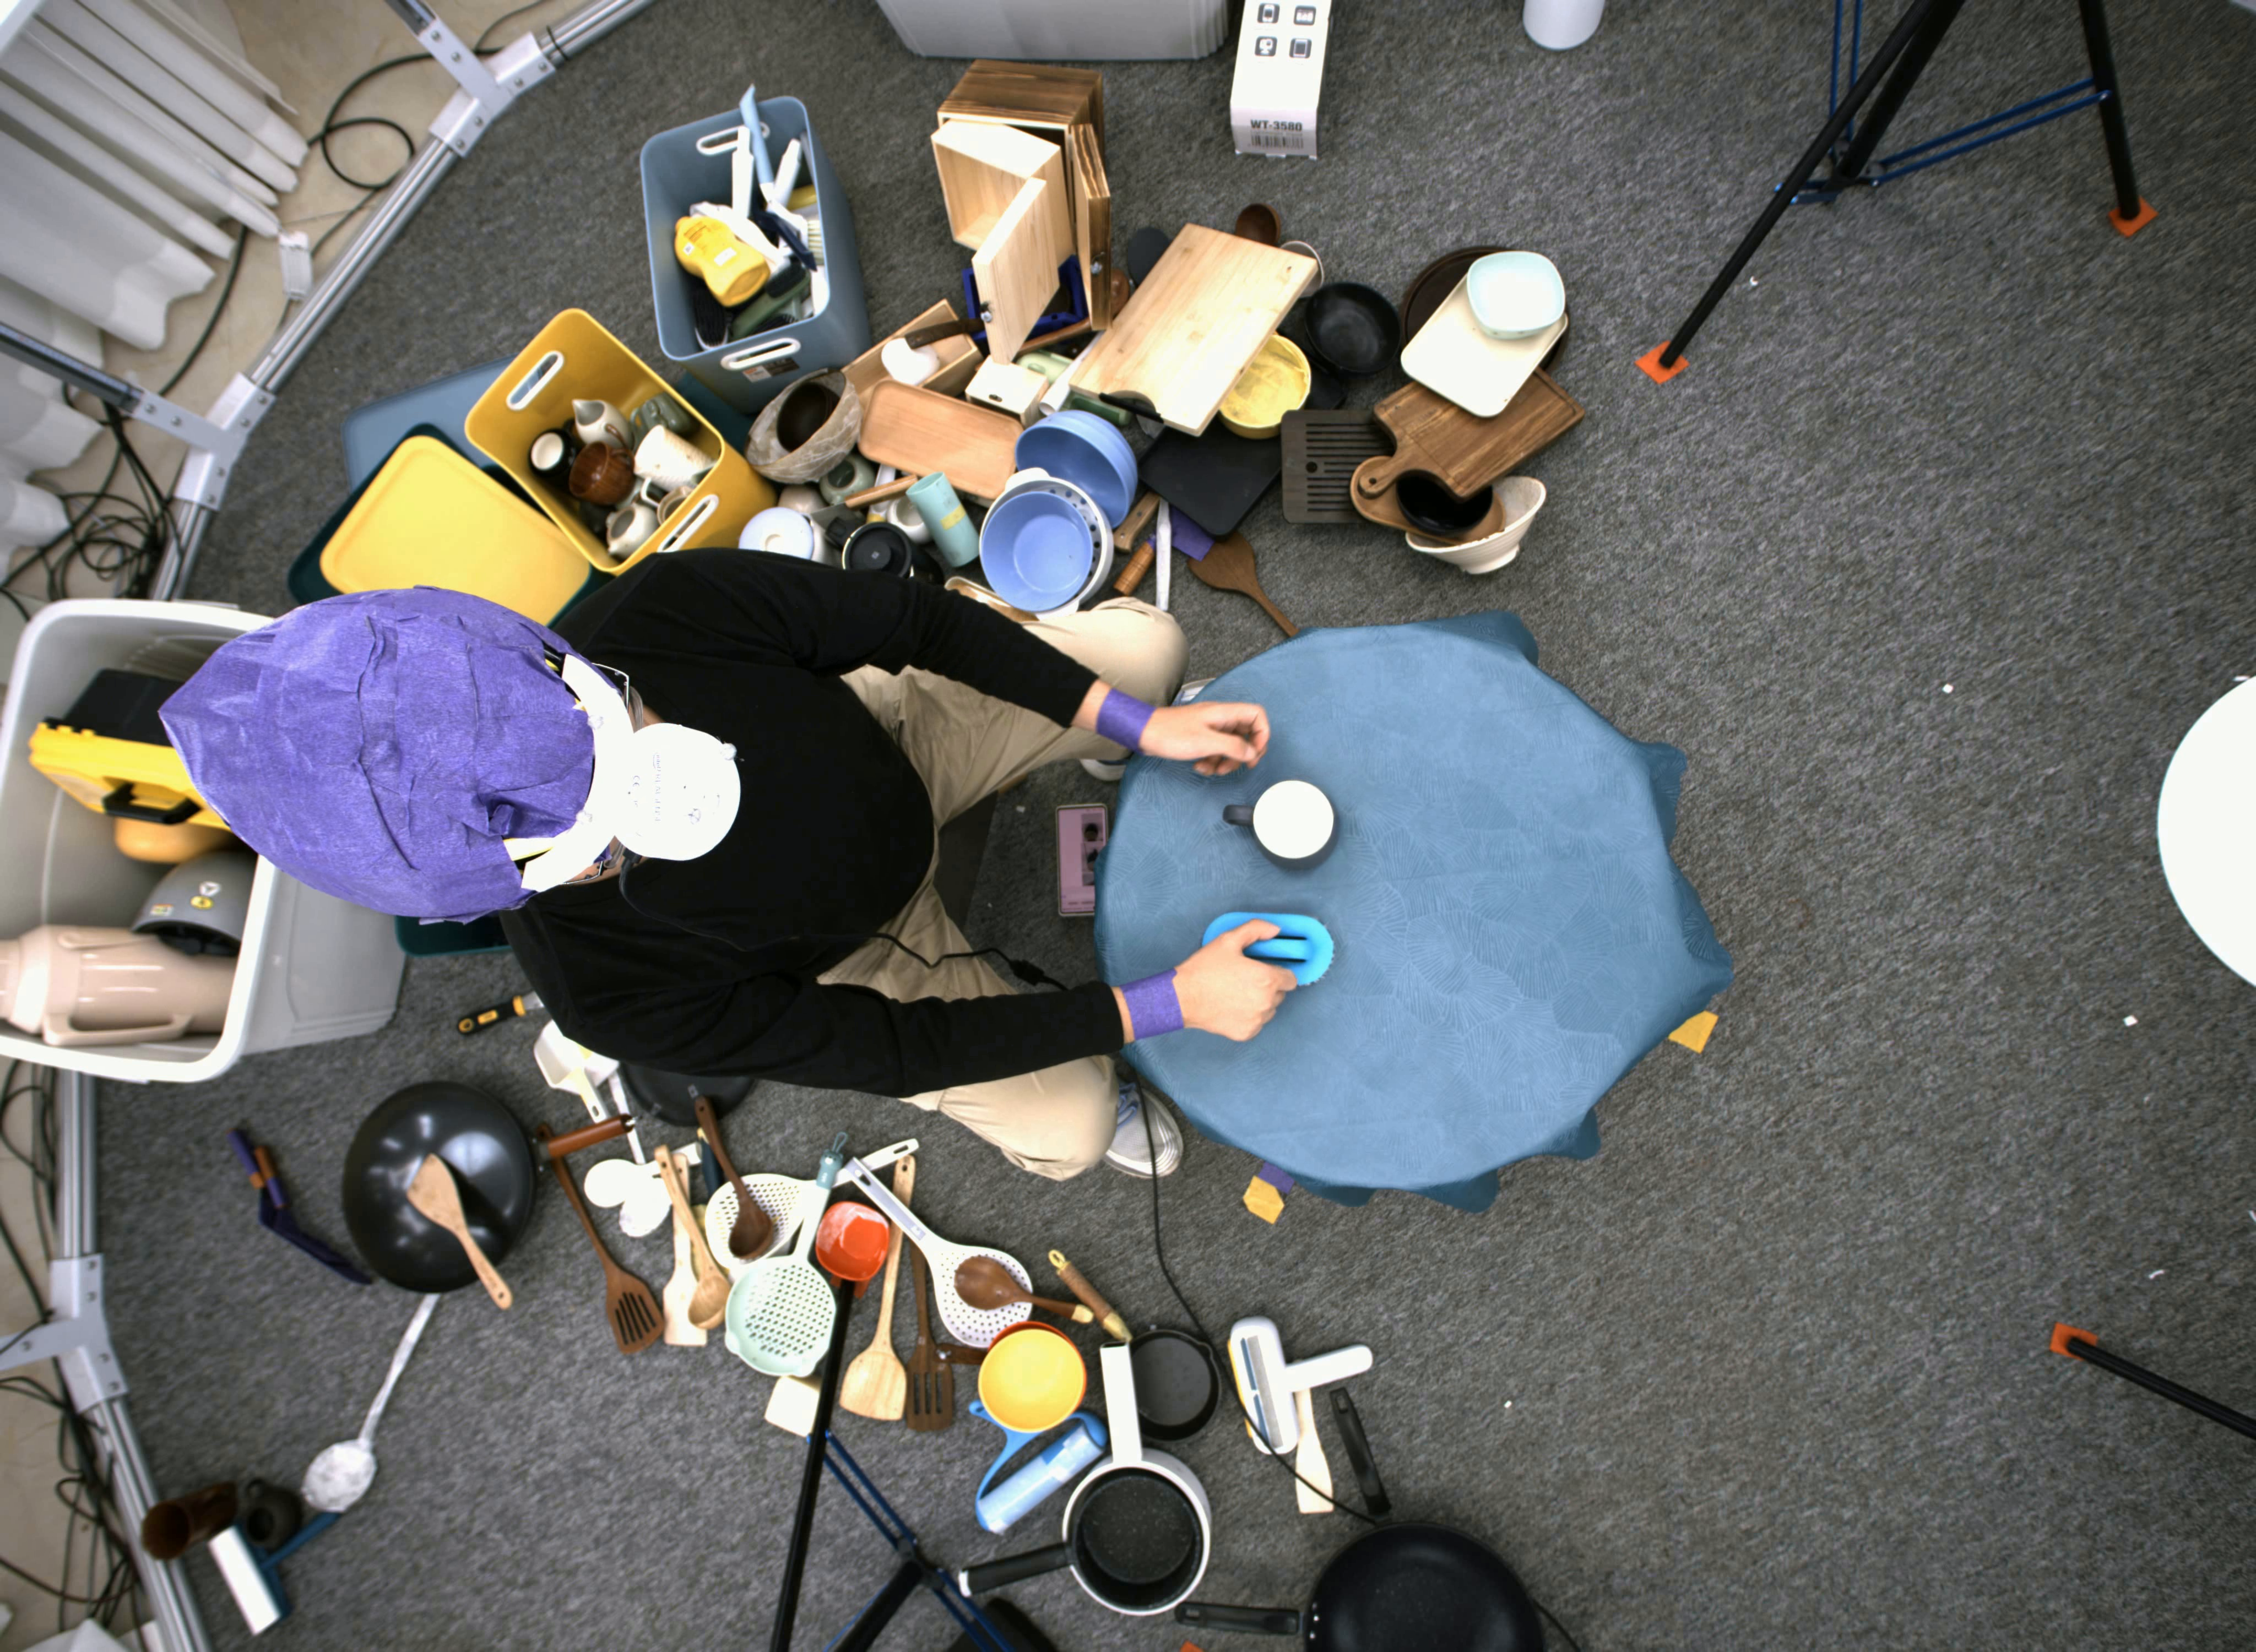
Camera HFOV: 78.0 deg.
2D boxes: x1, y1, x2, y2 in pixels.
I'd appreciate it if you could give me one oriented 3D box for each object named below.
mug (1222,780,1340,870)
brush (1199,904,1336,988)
[{"bbox_3d":[0.158,-0.007,1.436,0.123,0.090,0.093,11,87,9],"label":"mug"},{"bbox_3d":[0.144,0.124,1.446,0.142,0.063,0.084,3,91,12],"label":"brush"}]
